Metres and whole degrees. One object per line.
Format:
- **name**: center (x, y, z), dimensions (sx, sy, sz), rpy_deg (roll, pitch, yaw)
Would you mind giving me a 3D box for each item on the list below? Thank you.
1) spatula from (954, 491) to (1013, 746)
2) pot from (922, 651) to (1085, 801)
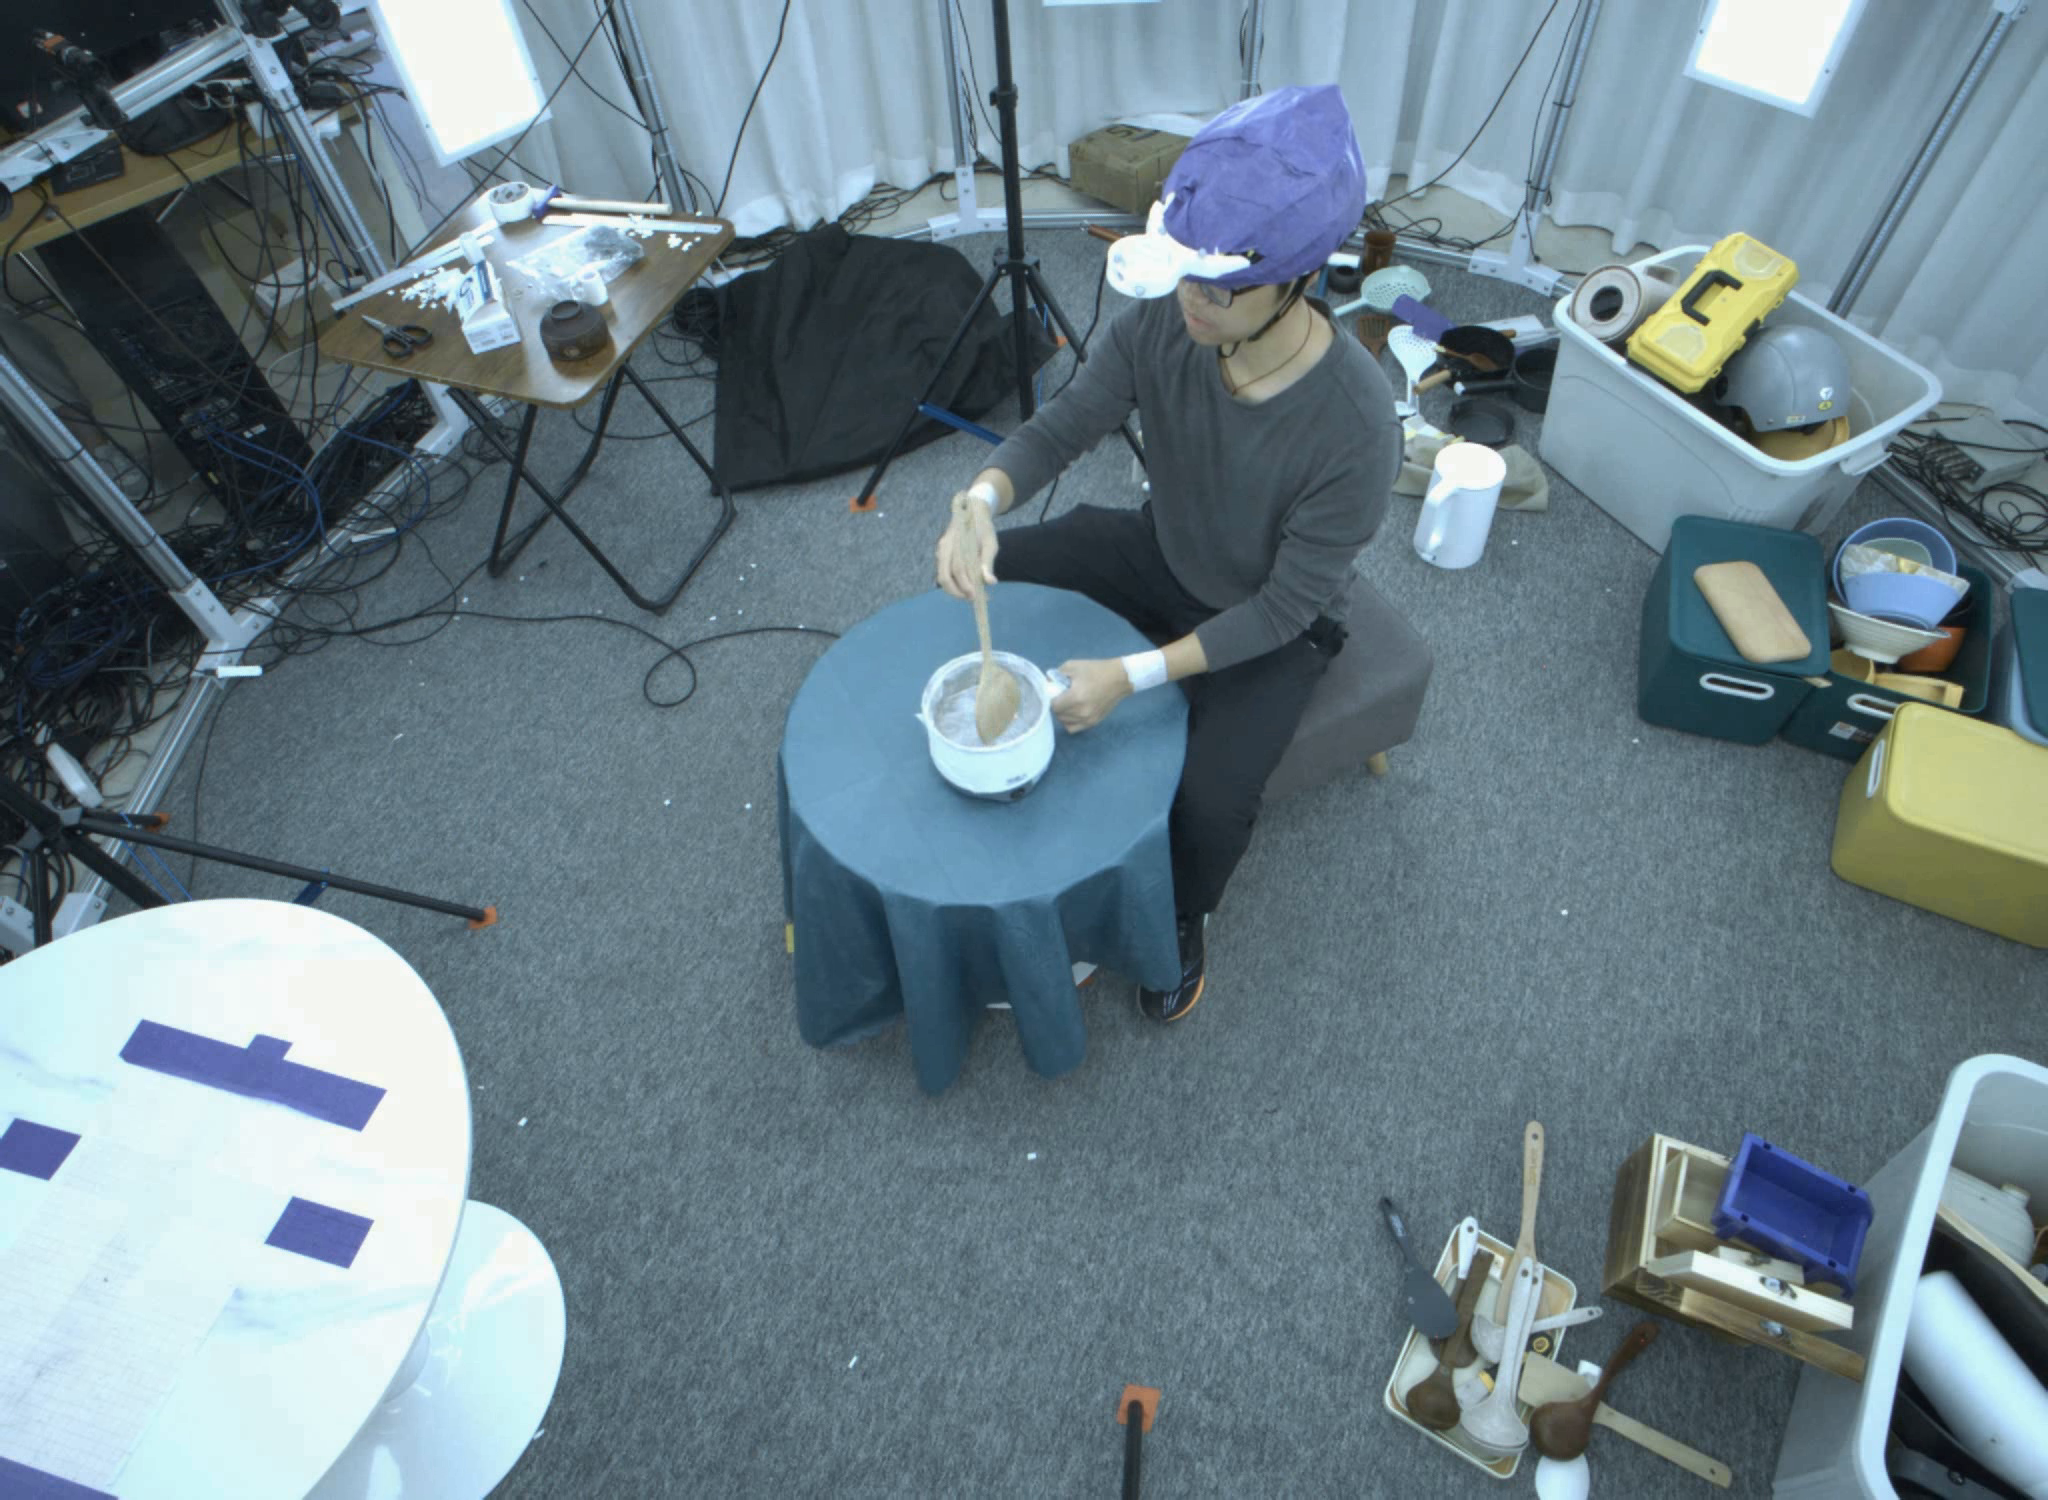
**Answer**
- **spatula**: center (-0.058, -0.165, 1.591), dimensions (0.018, 0.396, 0.096), rpy_deg (14, 49, 20)
- **pot**: center (-0.024, -0.043, 1.742), dimensions (0.235, 0.138, 0.175), rpy_deg (-23, 57, -14)
